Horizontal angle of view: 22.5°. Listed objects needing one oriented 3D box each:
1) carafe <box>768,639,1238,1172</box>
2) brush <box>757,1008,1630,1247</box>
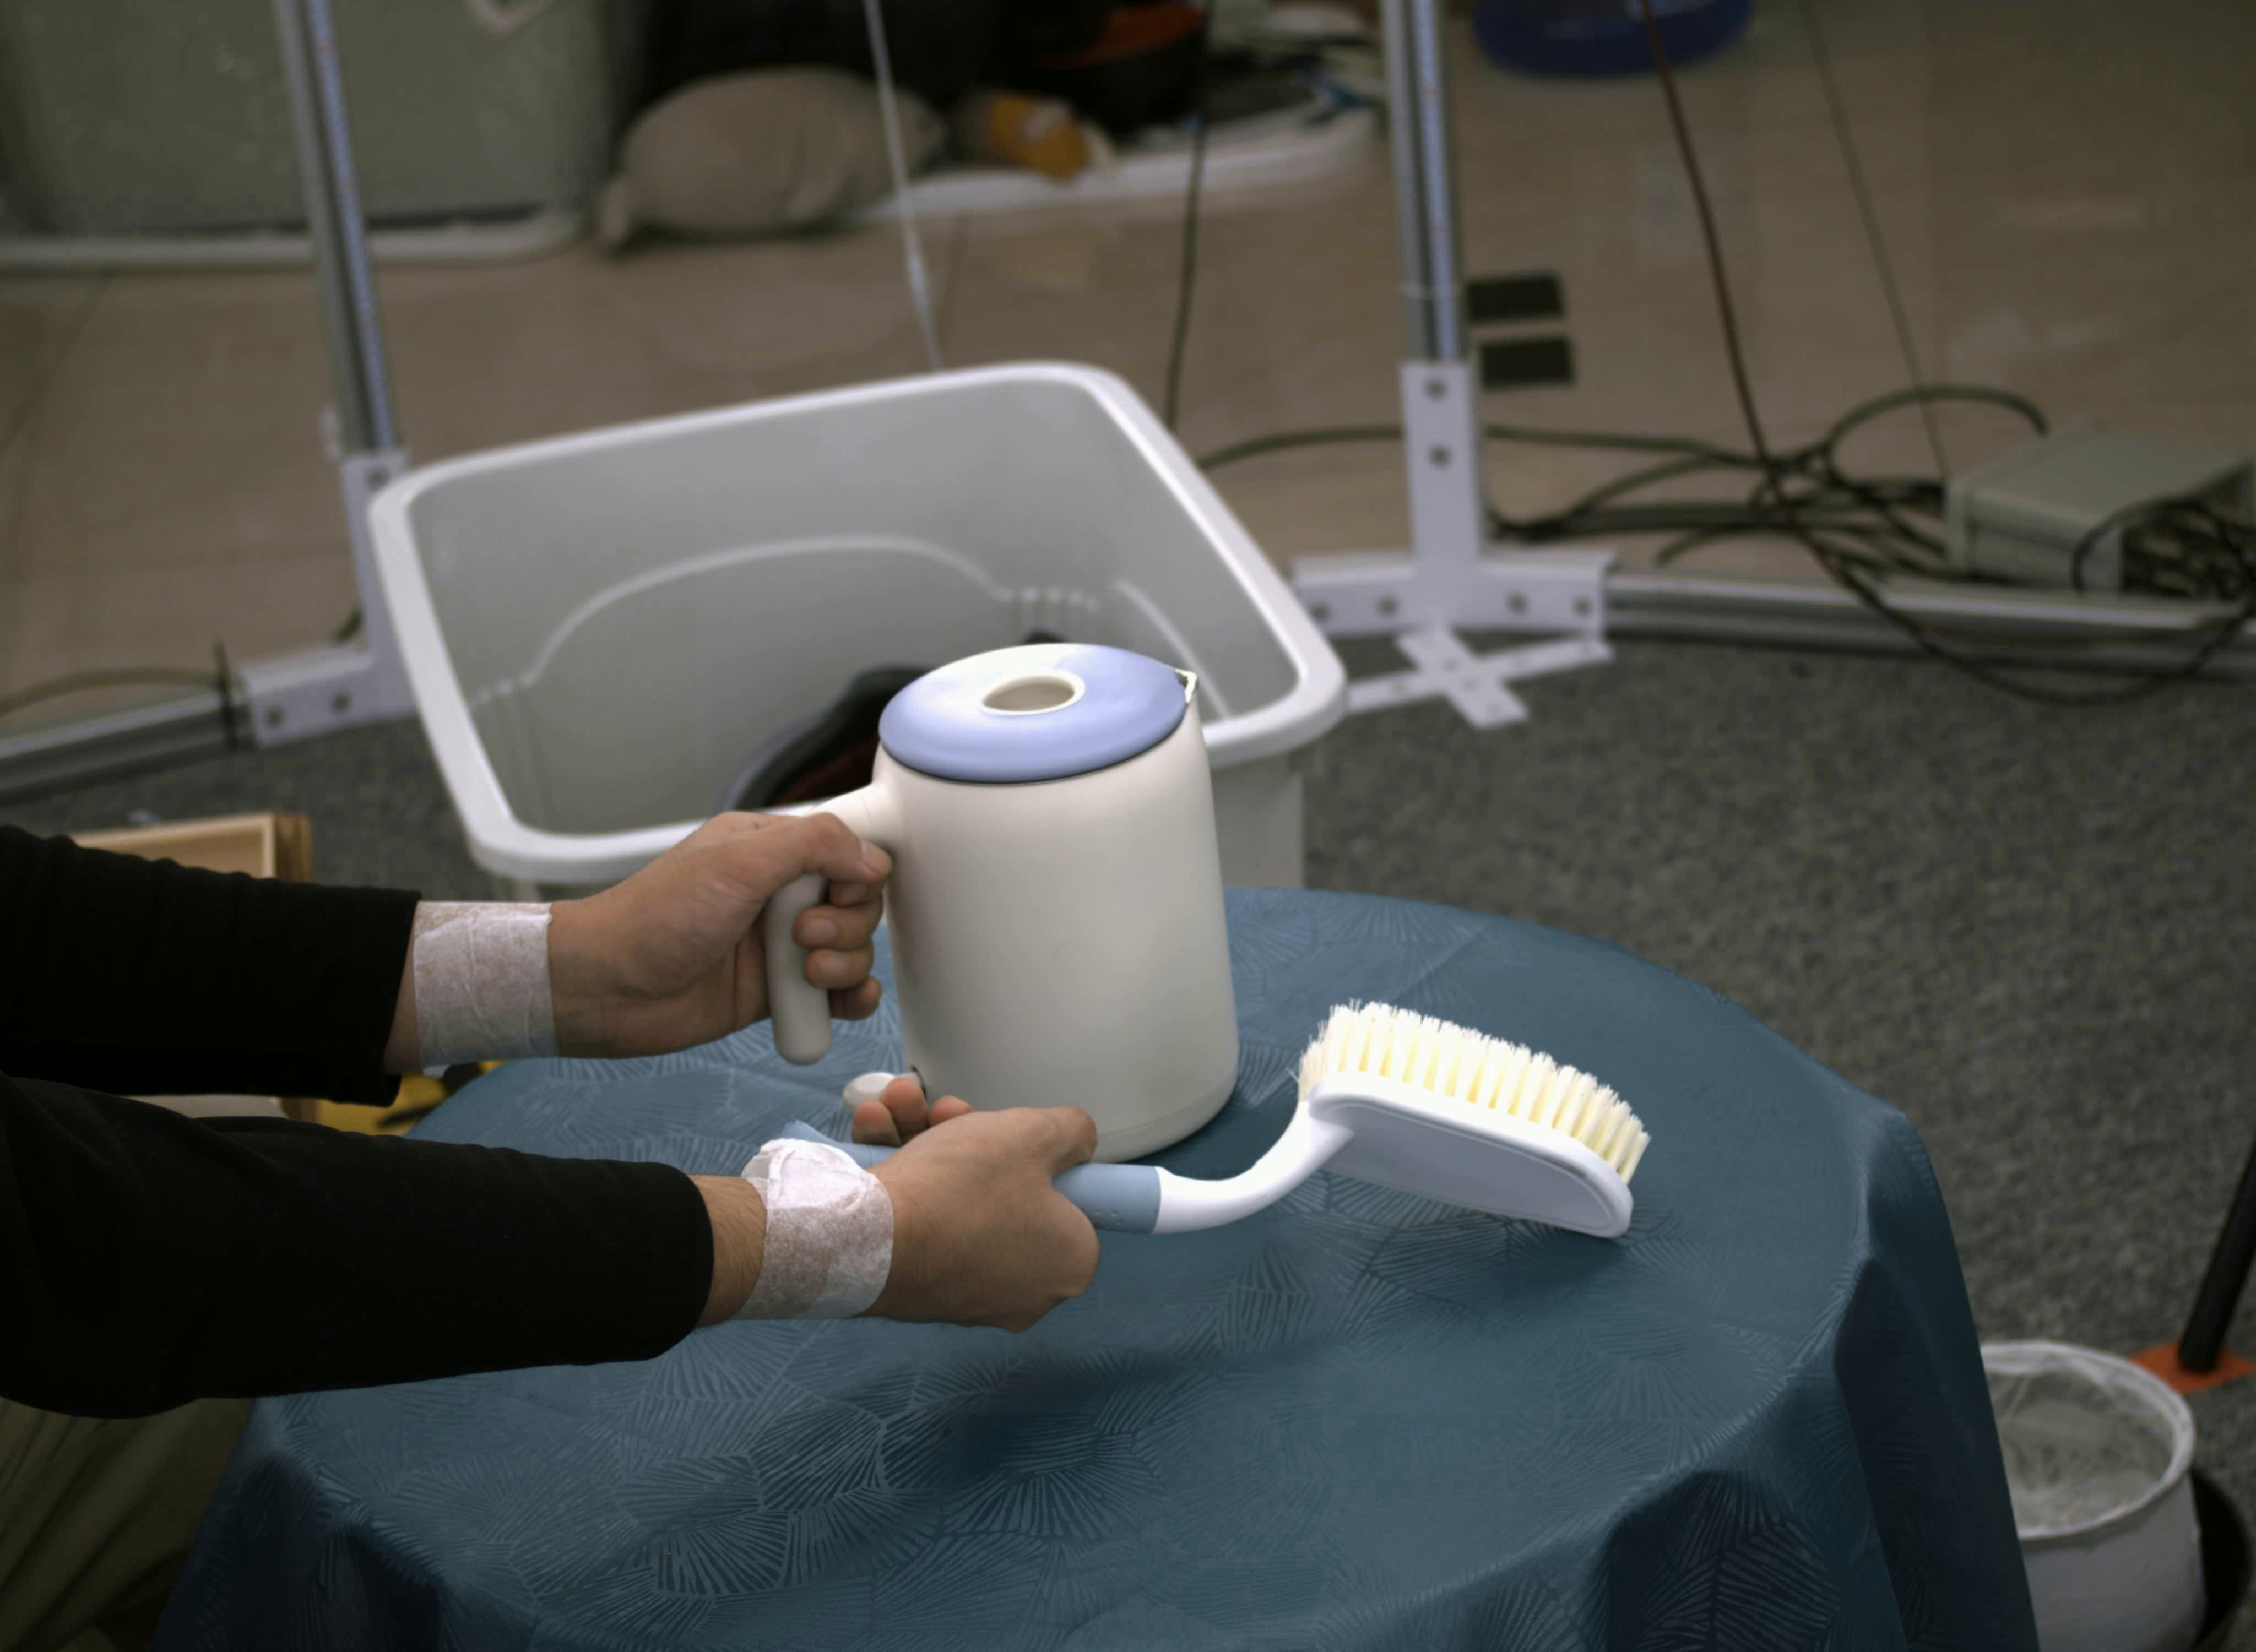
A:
[{"bbox_3d":[-0.051,0.037,2.173,0.190,0.185,0.130,-18,27,-20],"label":"carafe"},{"bbox_3d":[0.026,0.100,2.038,0.325,0.084,0.083,5,24,-15],"label":"brush"}]
